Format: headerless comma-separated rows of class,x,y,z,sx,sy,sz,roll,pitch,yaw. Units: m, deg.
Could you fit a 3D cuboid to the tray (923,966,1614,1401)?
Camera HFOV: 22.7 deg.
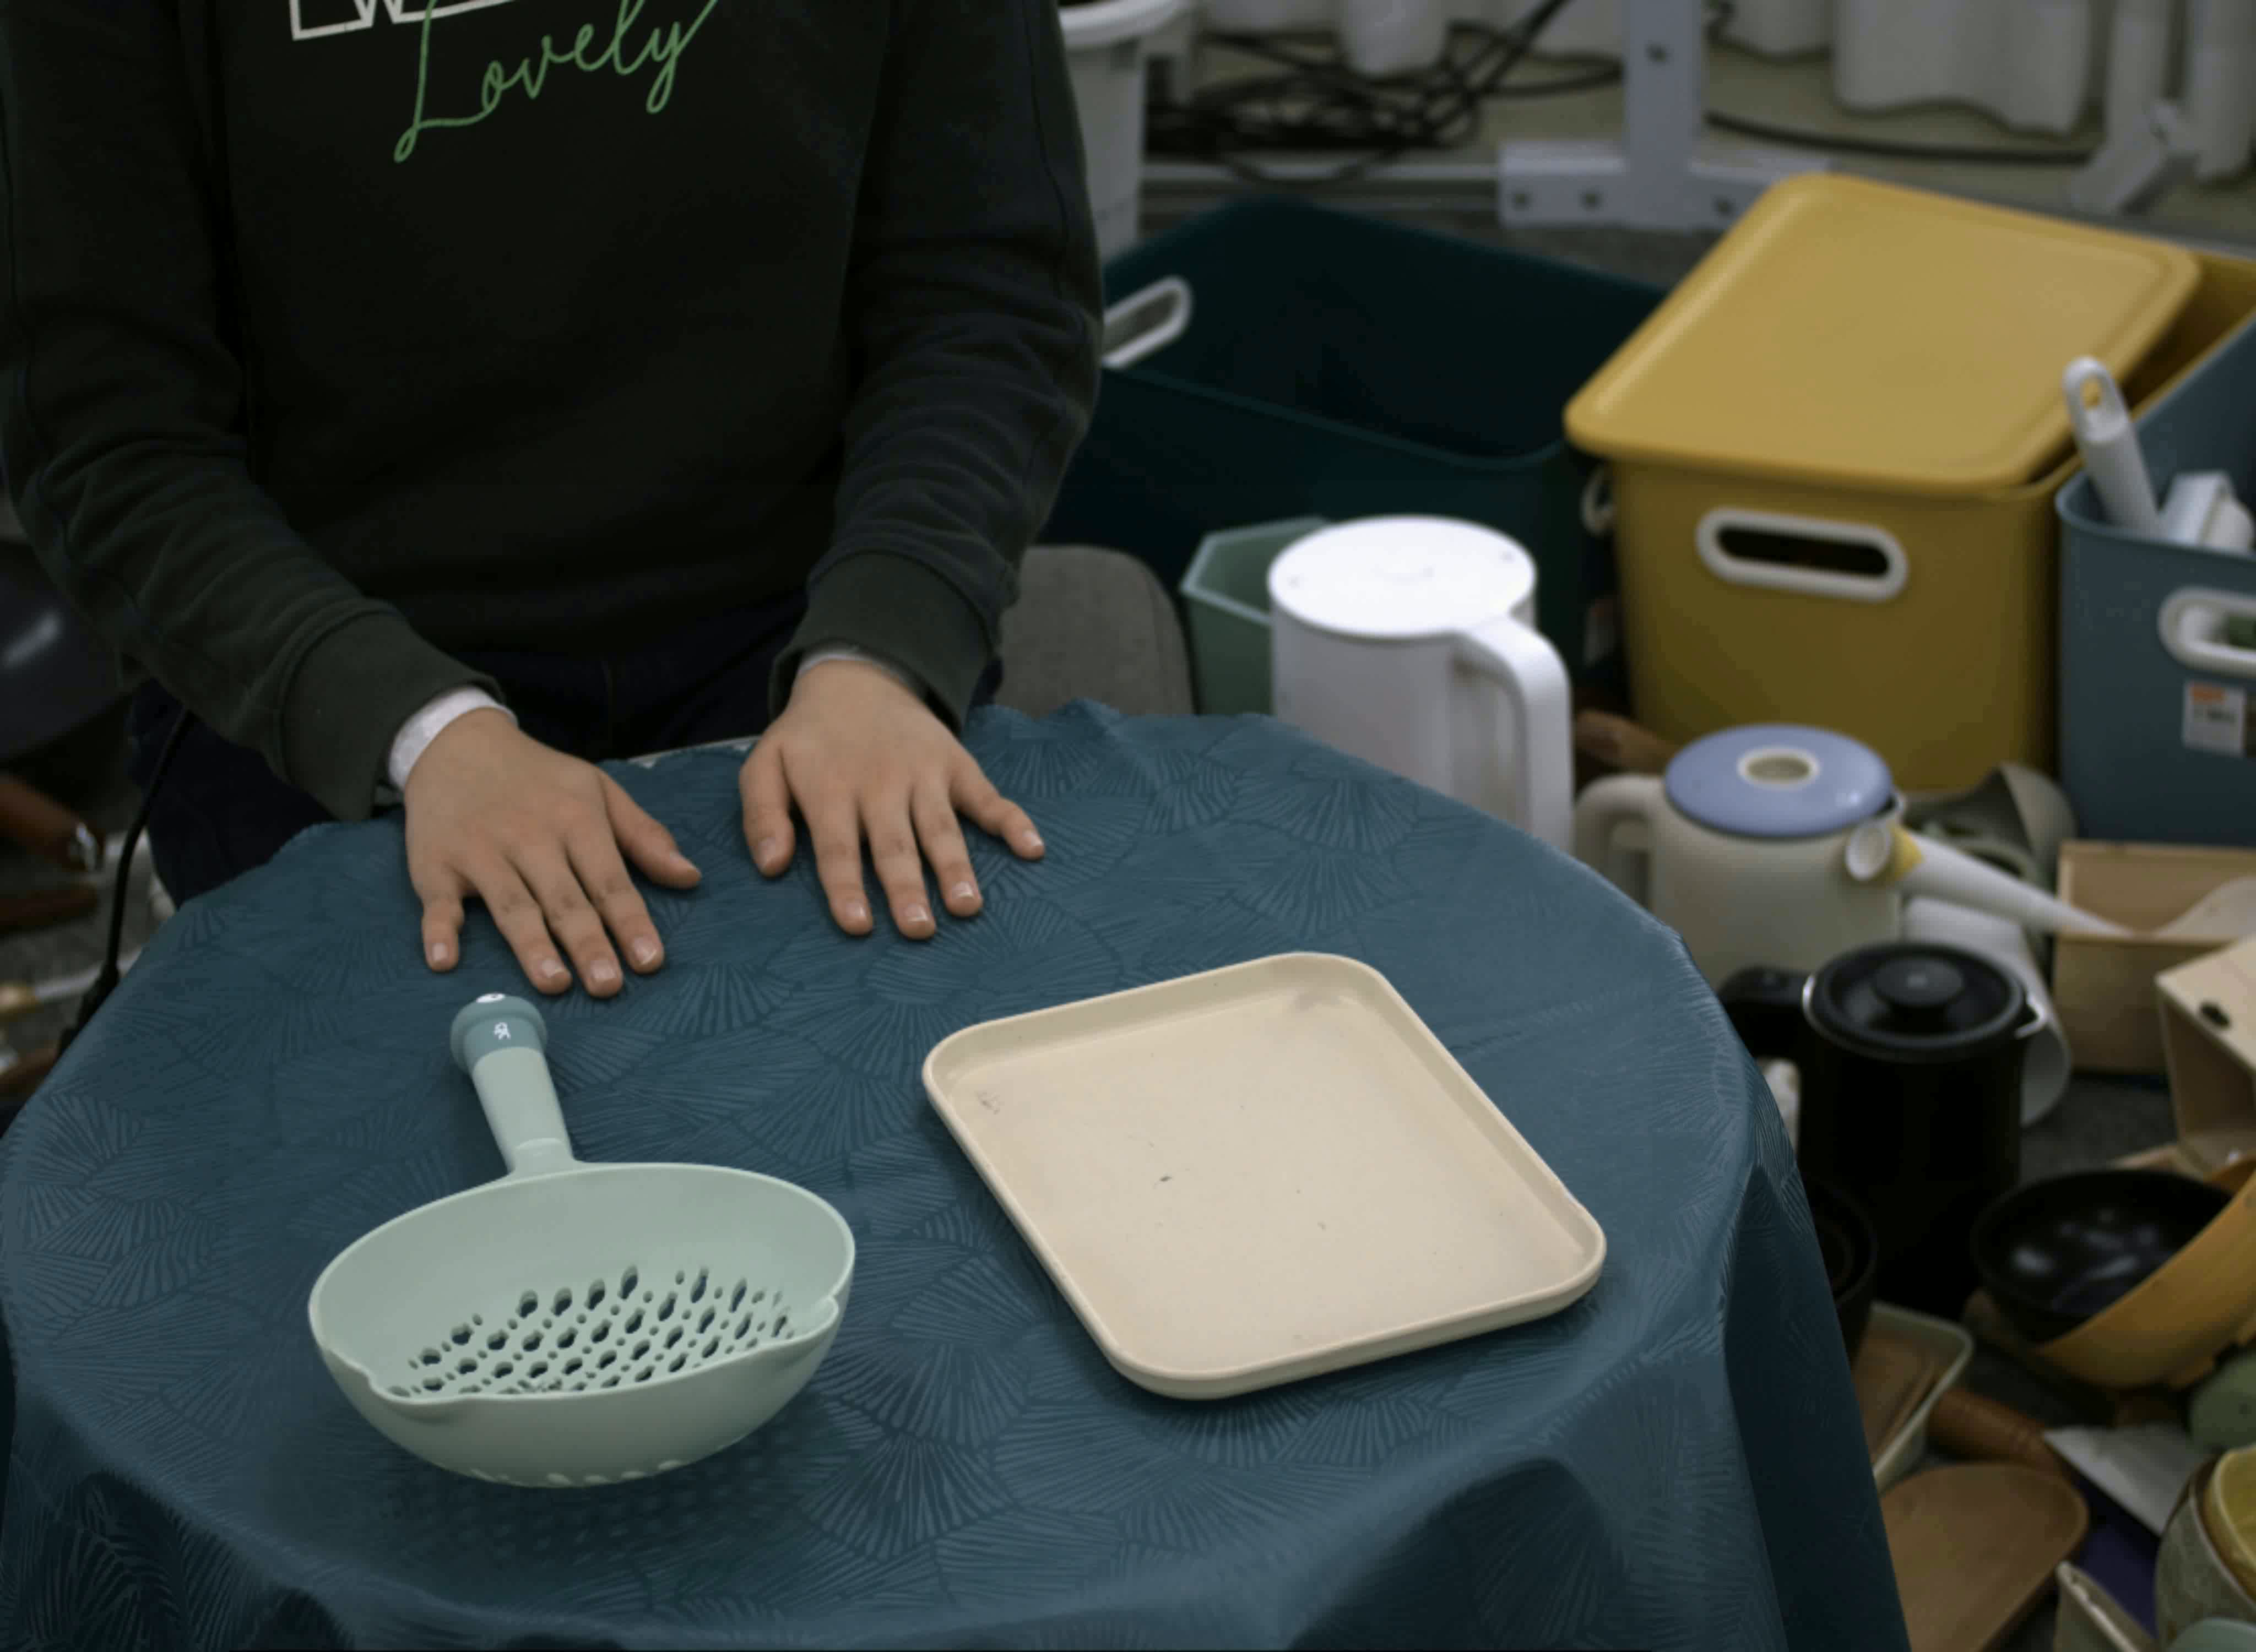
tray,0.043,0.116,1.850,0.171,0.017,0.241,-12,28,-17

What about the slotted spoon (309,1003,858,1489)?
slotted spoon,-0.186,0.120,1.816,0.169,0.074,0.363,-7,27,-11
